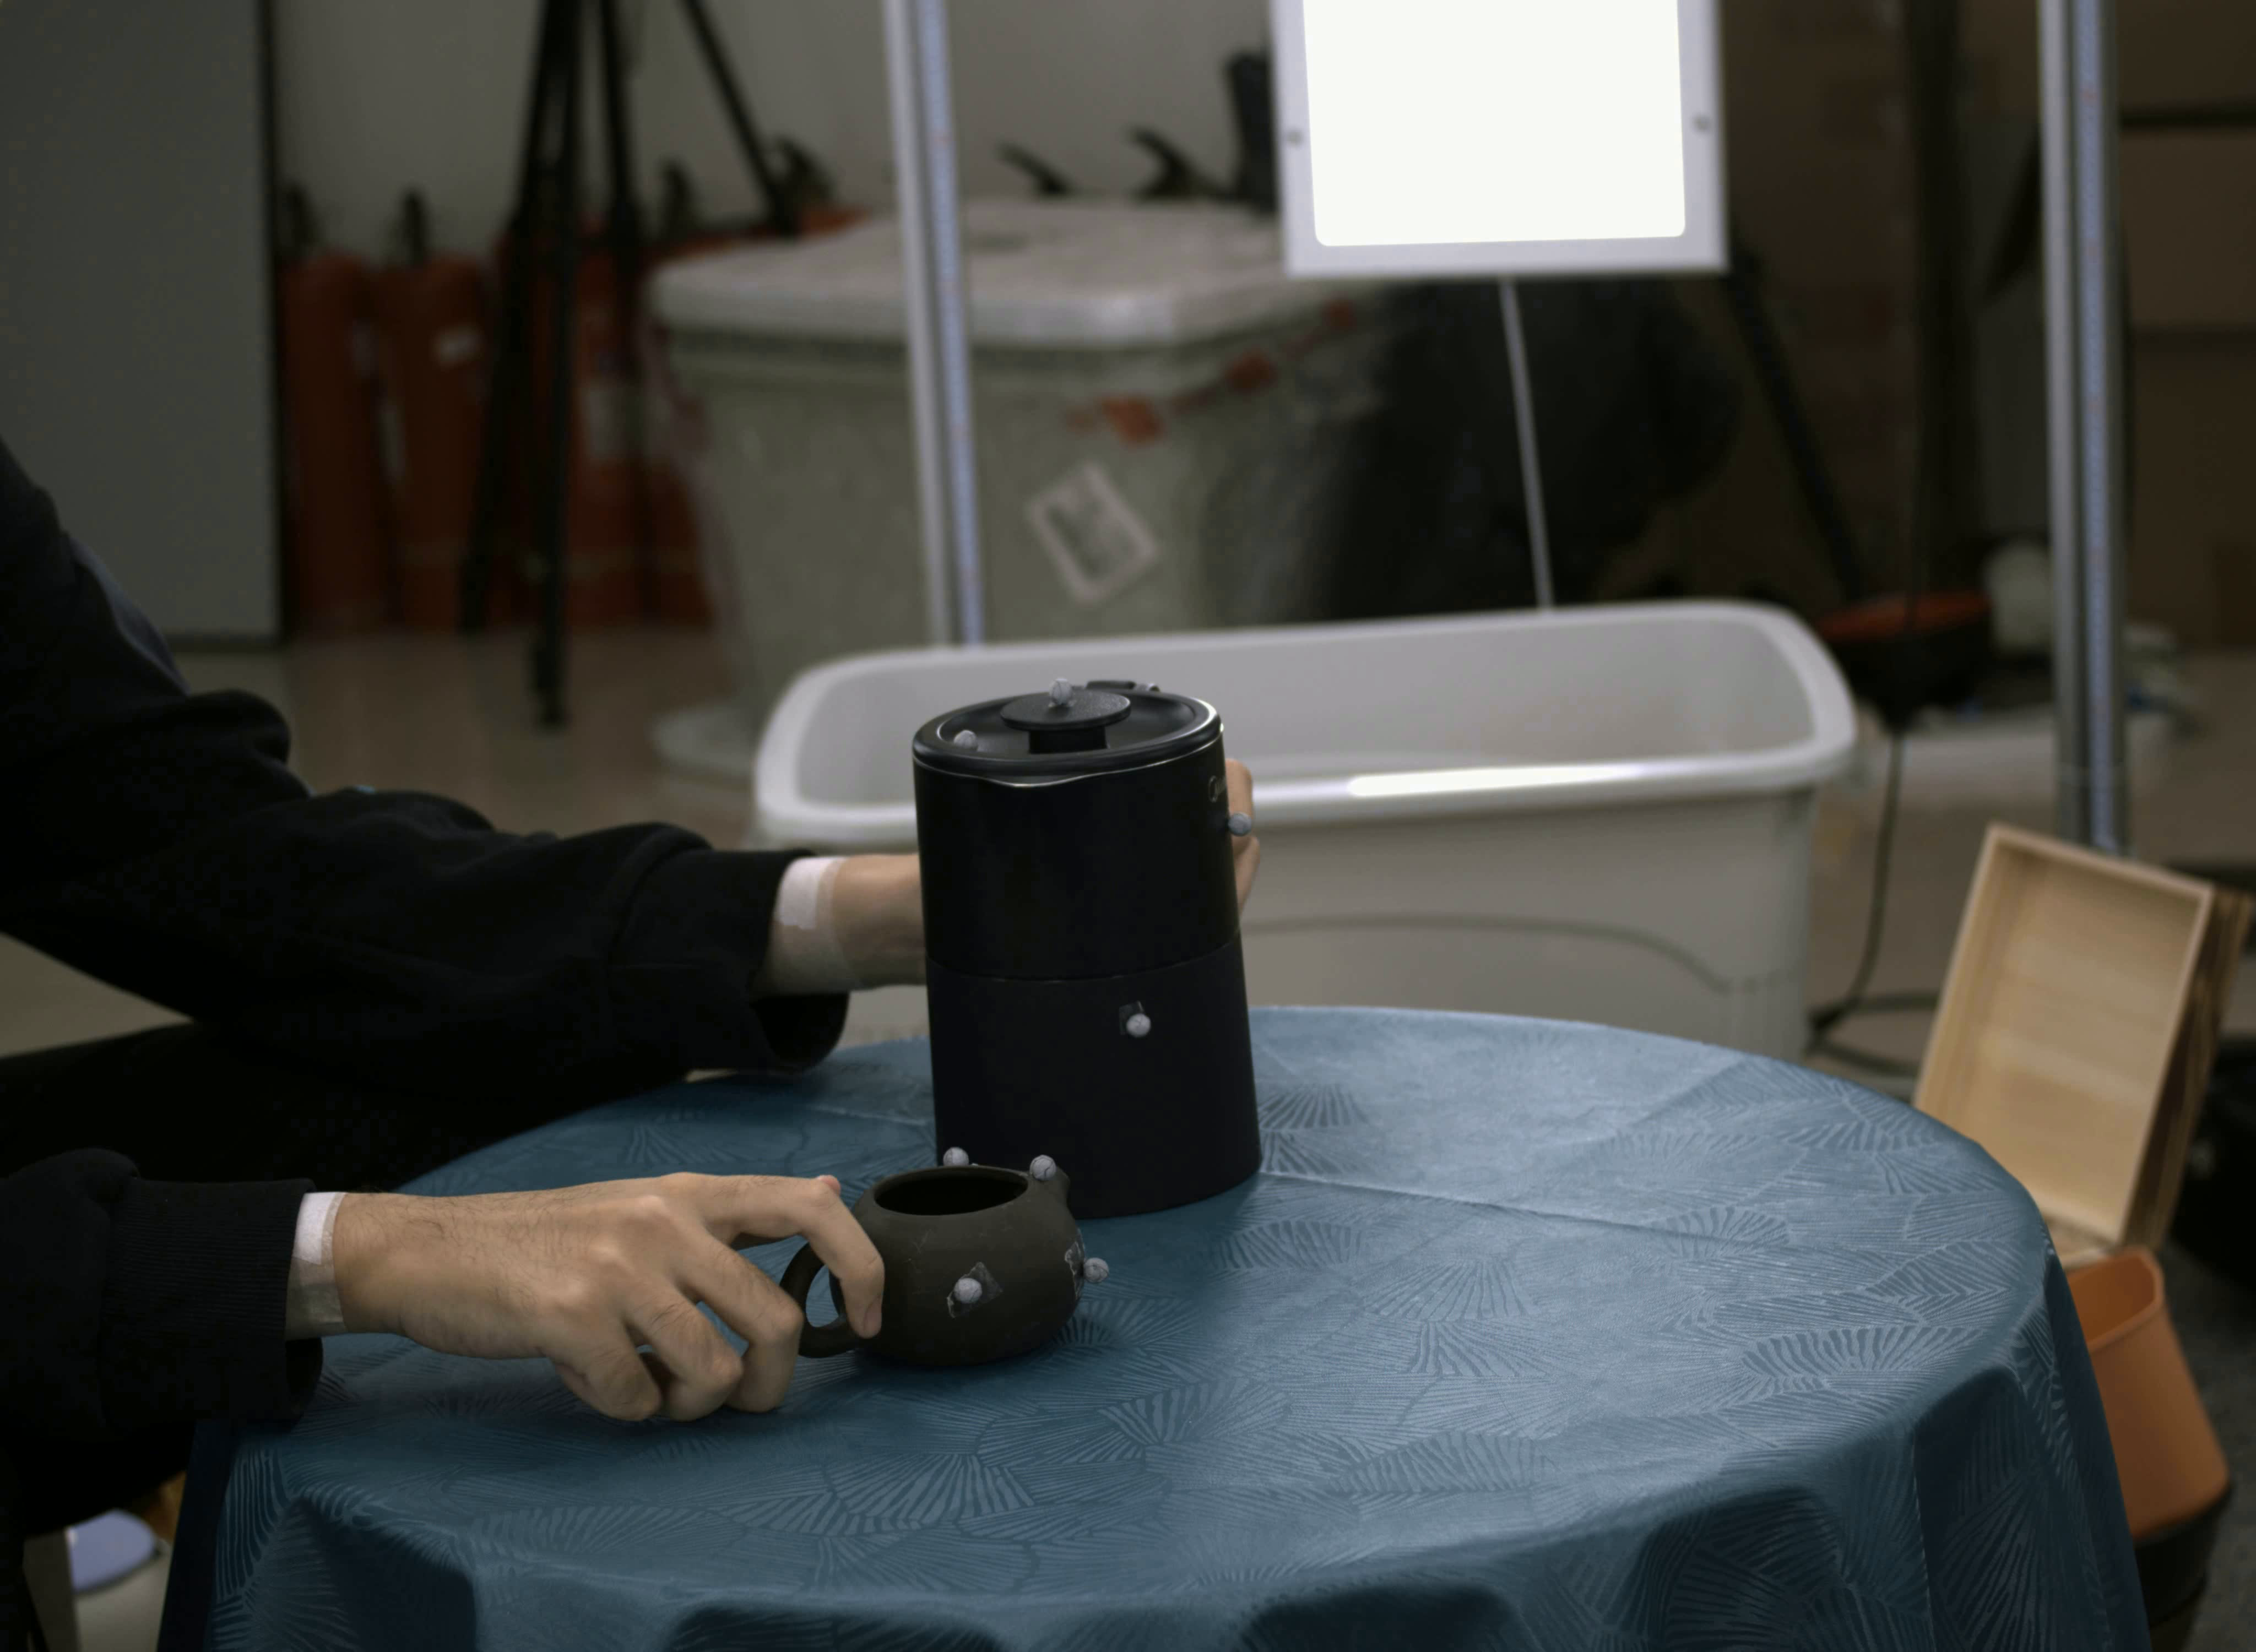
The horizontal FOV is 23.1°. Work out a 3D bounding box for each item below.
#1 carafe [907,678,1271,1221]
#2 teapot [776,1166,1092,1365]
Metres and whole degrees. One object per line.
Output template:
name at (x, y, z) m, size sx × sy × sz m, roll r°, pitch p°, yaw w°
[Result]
carafe at (-0.012, 0.033, 1.922) m, size 0.115 × 0.174 × 0.170 m, roll -3°, pitch 16°, yaw 12°
teapot at (-0.062, 0.141, 1.752) m, size 0.111 × 0.053 × 0.084 m, roll -9°, pitch 13°, yaw -31°
